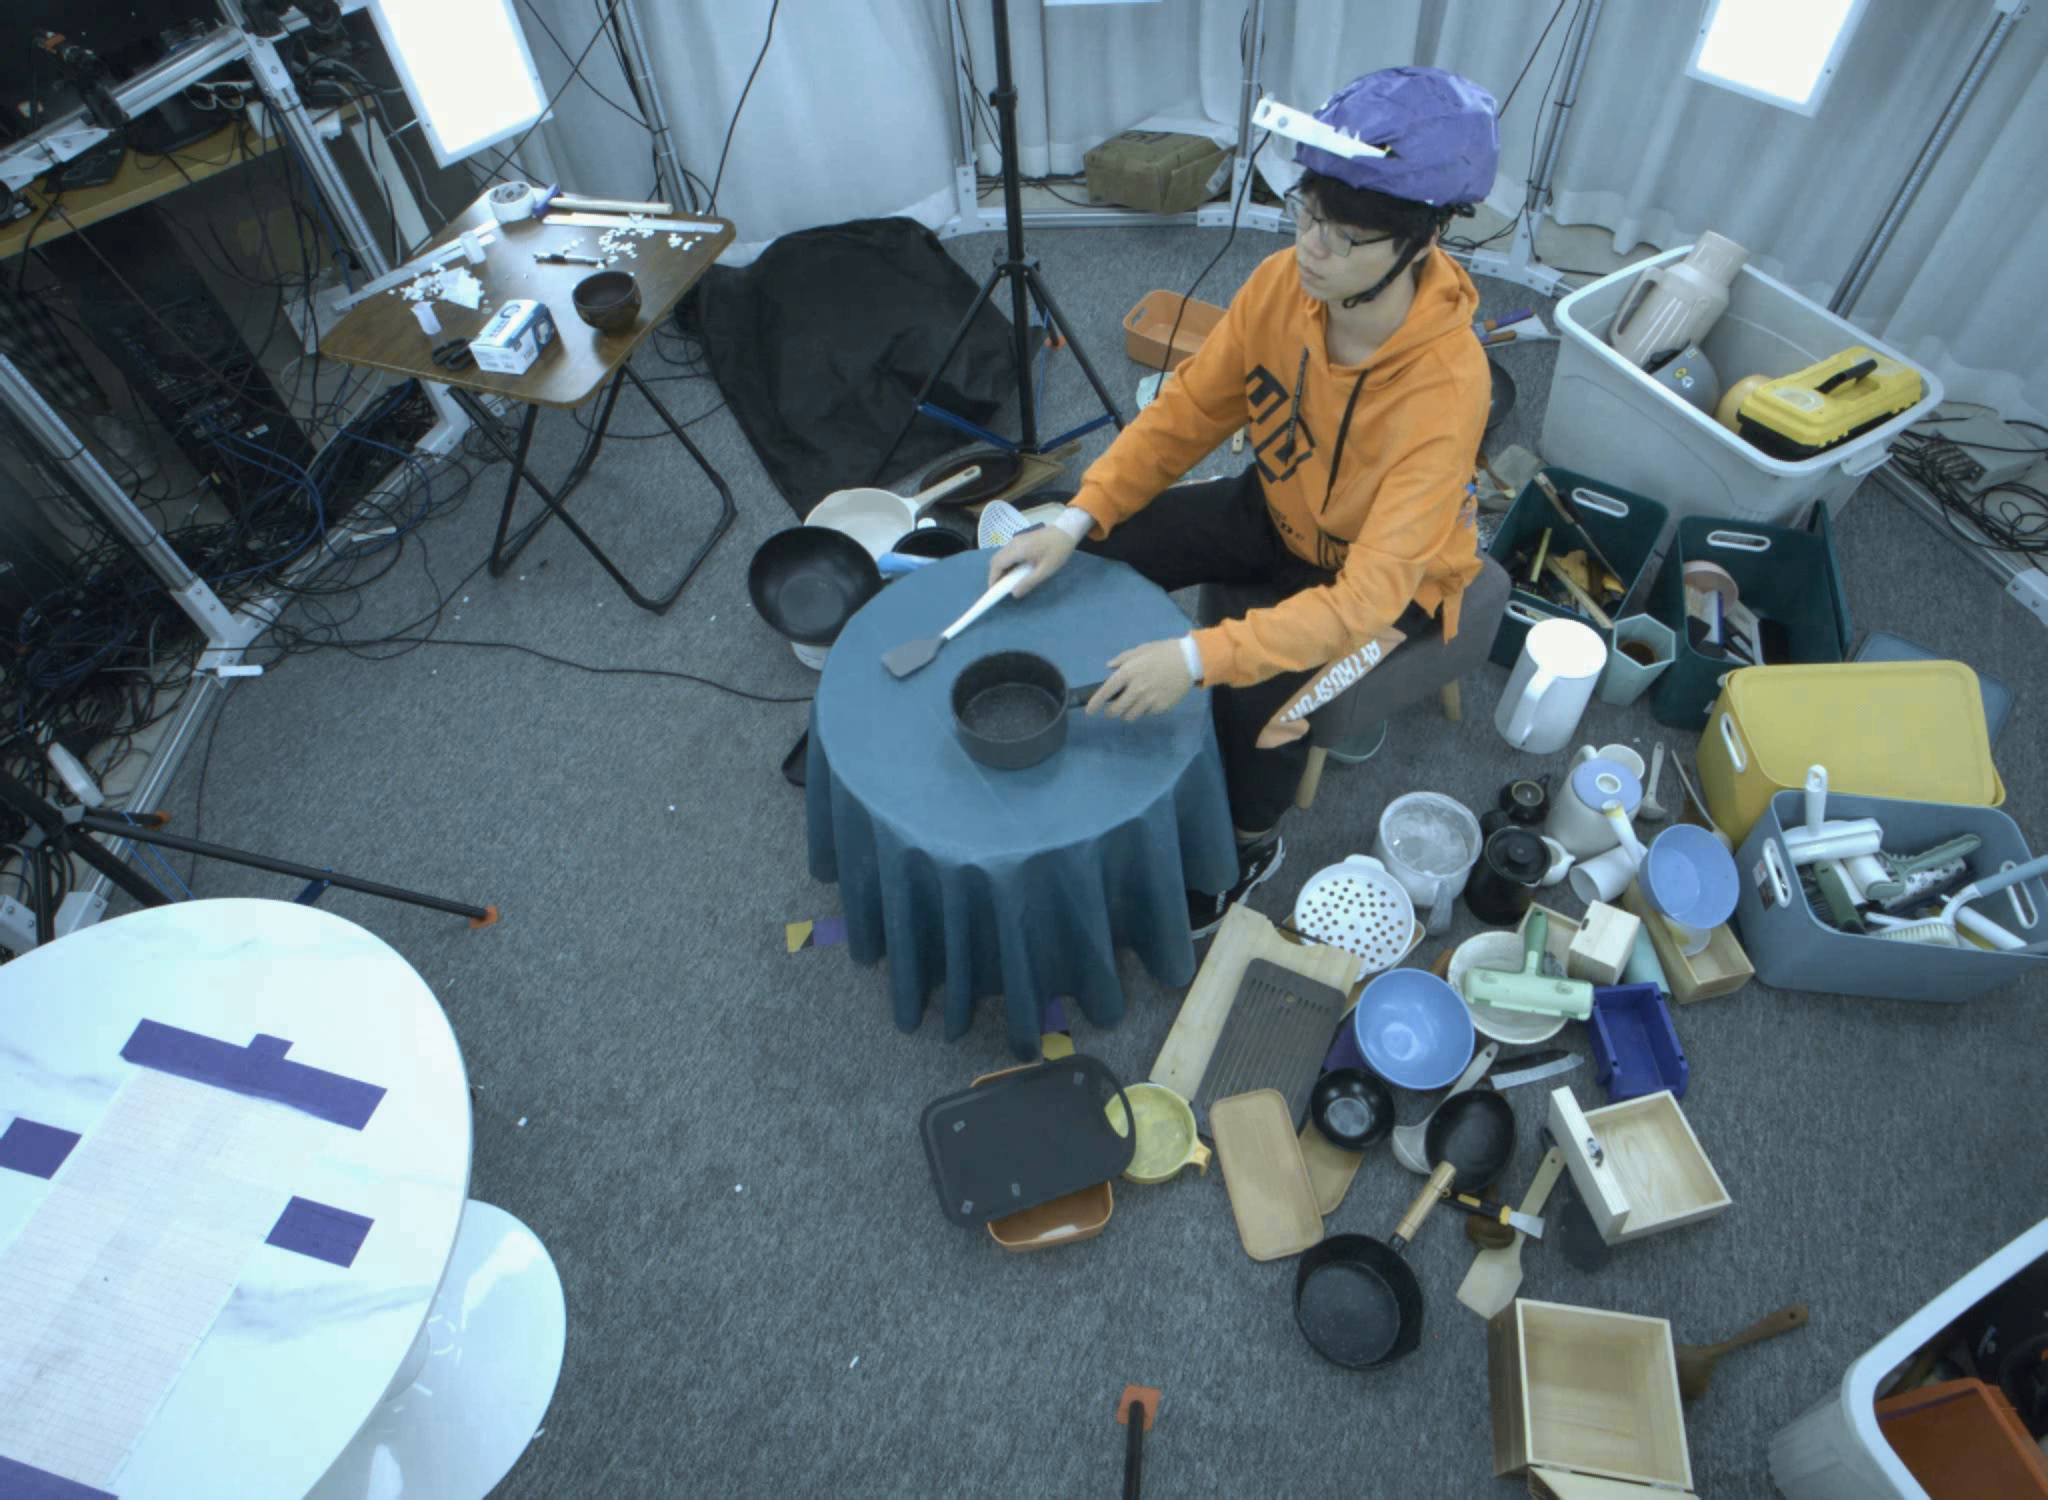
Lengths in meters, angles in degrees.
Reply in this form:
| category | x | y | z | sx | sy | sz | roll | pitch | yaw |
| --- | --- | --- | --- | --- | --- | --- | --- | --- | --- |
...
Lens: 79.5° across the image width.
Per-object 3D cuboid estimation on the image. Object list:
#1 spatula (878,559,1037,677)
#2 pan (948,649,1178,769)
| category | x | y | z | sx | sy | sz | roll | pitch | yaw |
| --- | --- | --- | --- | --- | --- | --- | --- | --- | --- |
| spatula | -0.100 | -0.205 | 1.910 | 0.289 | 0.032 | 0.058 | -37 | 68 | -15 |
| pan | 0.059 | -0.066 | 1.779 | 0.328 | 0.087 | 0.170 | -4 | 55 | 1 |
